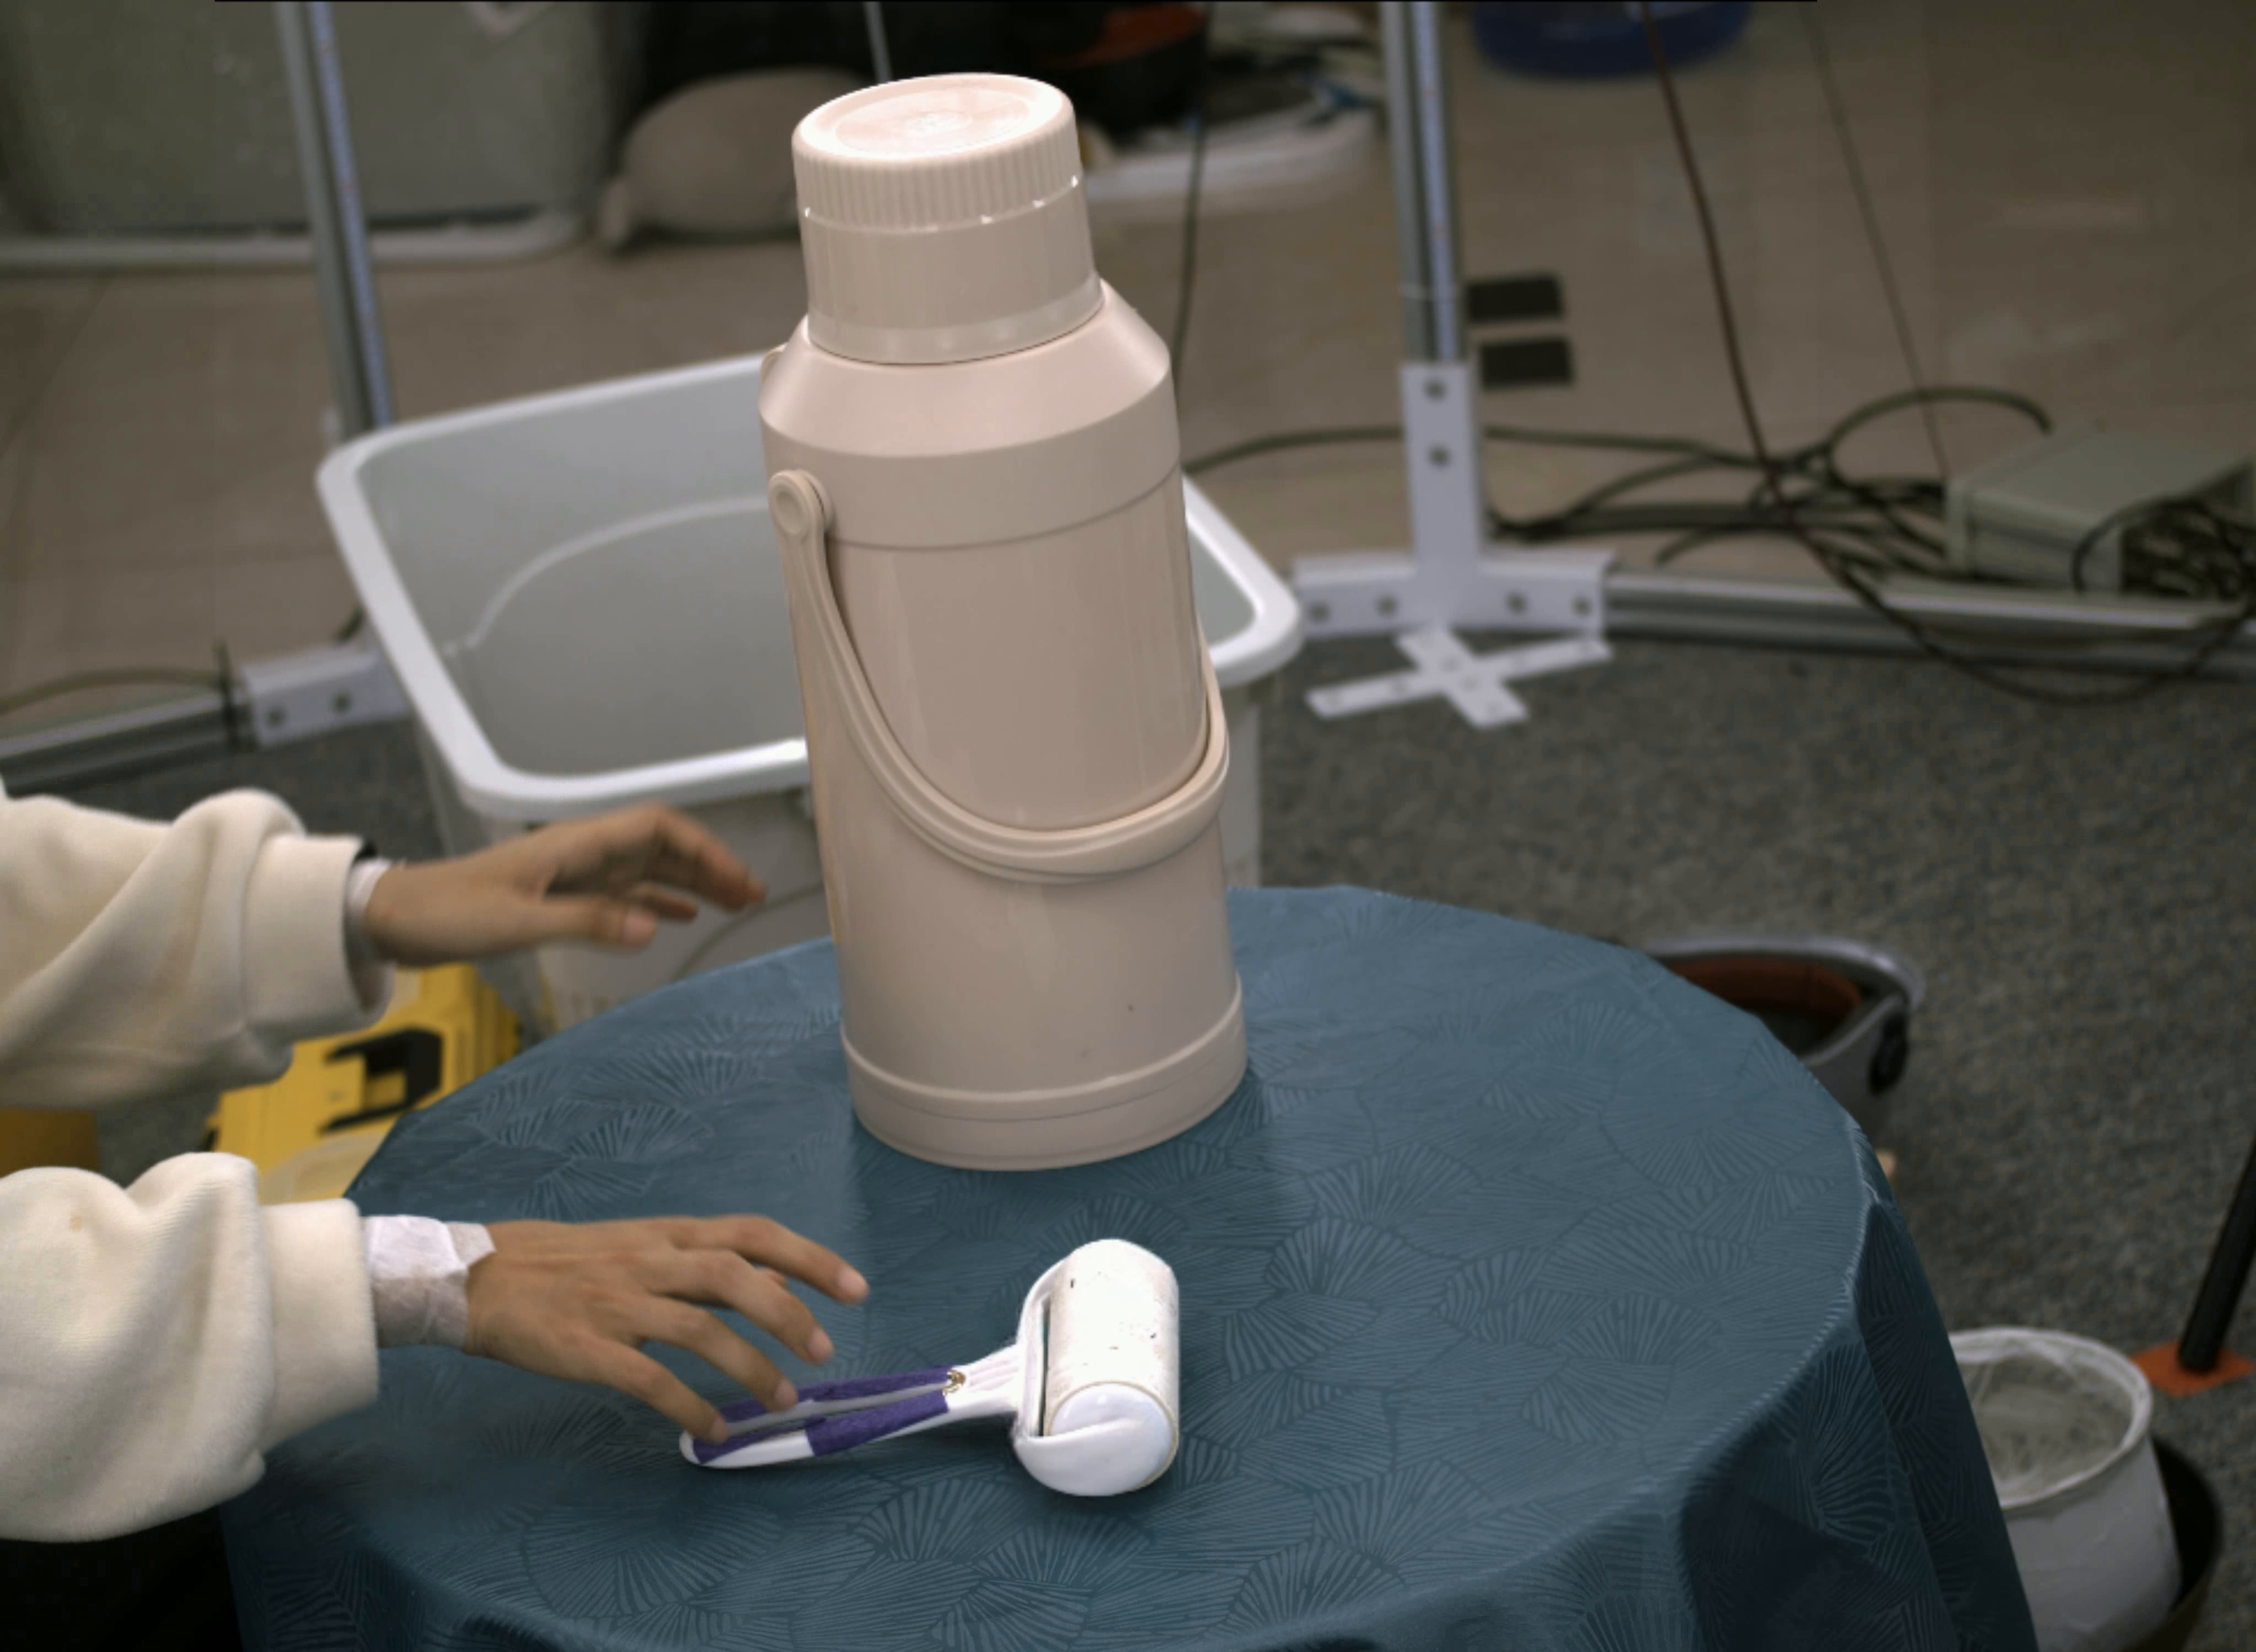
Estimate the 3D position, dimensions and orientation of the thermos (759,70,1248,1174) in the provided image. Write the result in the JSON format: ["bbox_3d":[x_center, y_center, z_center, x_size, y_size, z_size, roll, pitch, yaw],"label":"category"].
[{"bbox_3d":[-0.059,-0.082,2.161,0.174,0.413,0.205,-26,32,-34],"label":"thermos"}]

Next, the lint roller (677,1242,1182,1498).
[{"bbox_3d":[-0.070,0.192,1.993,0.180,0.051,0.131,-2,26,4],"label":"lint roller"}]
